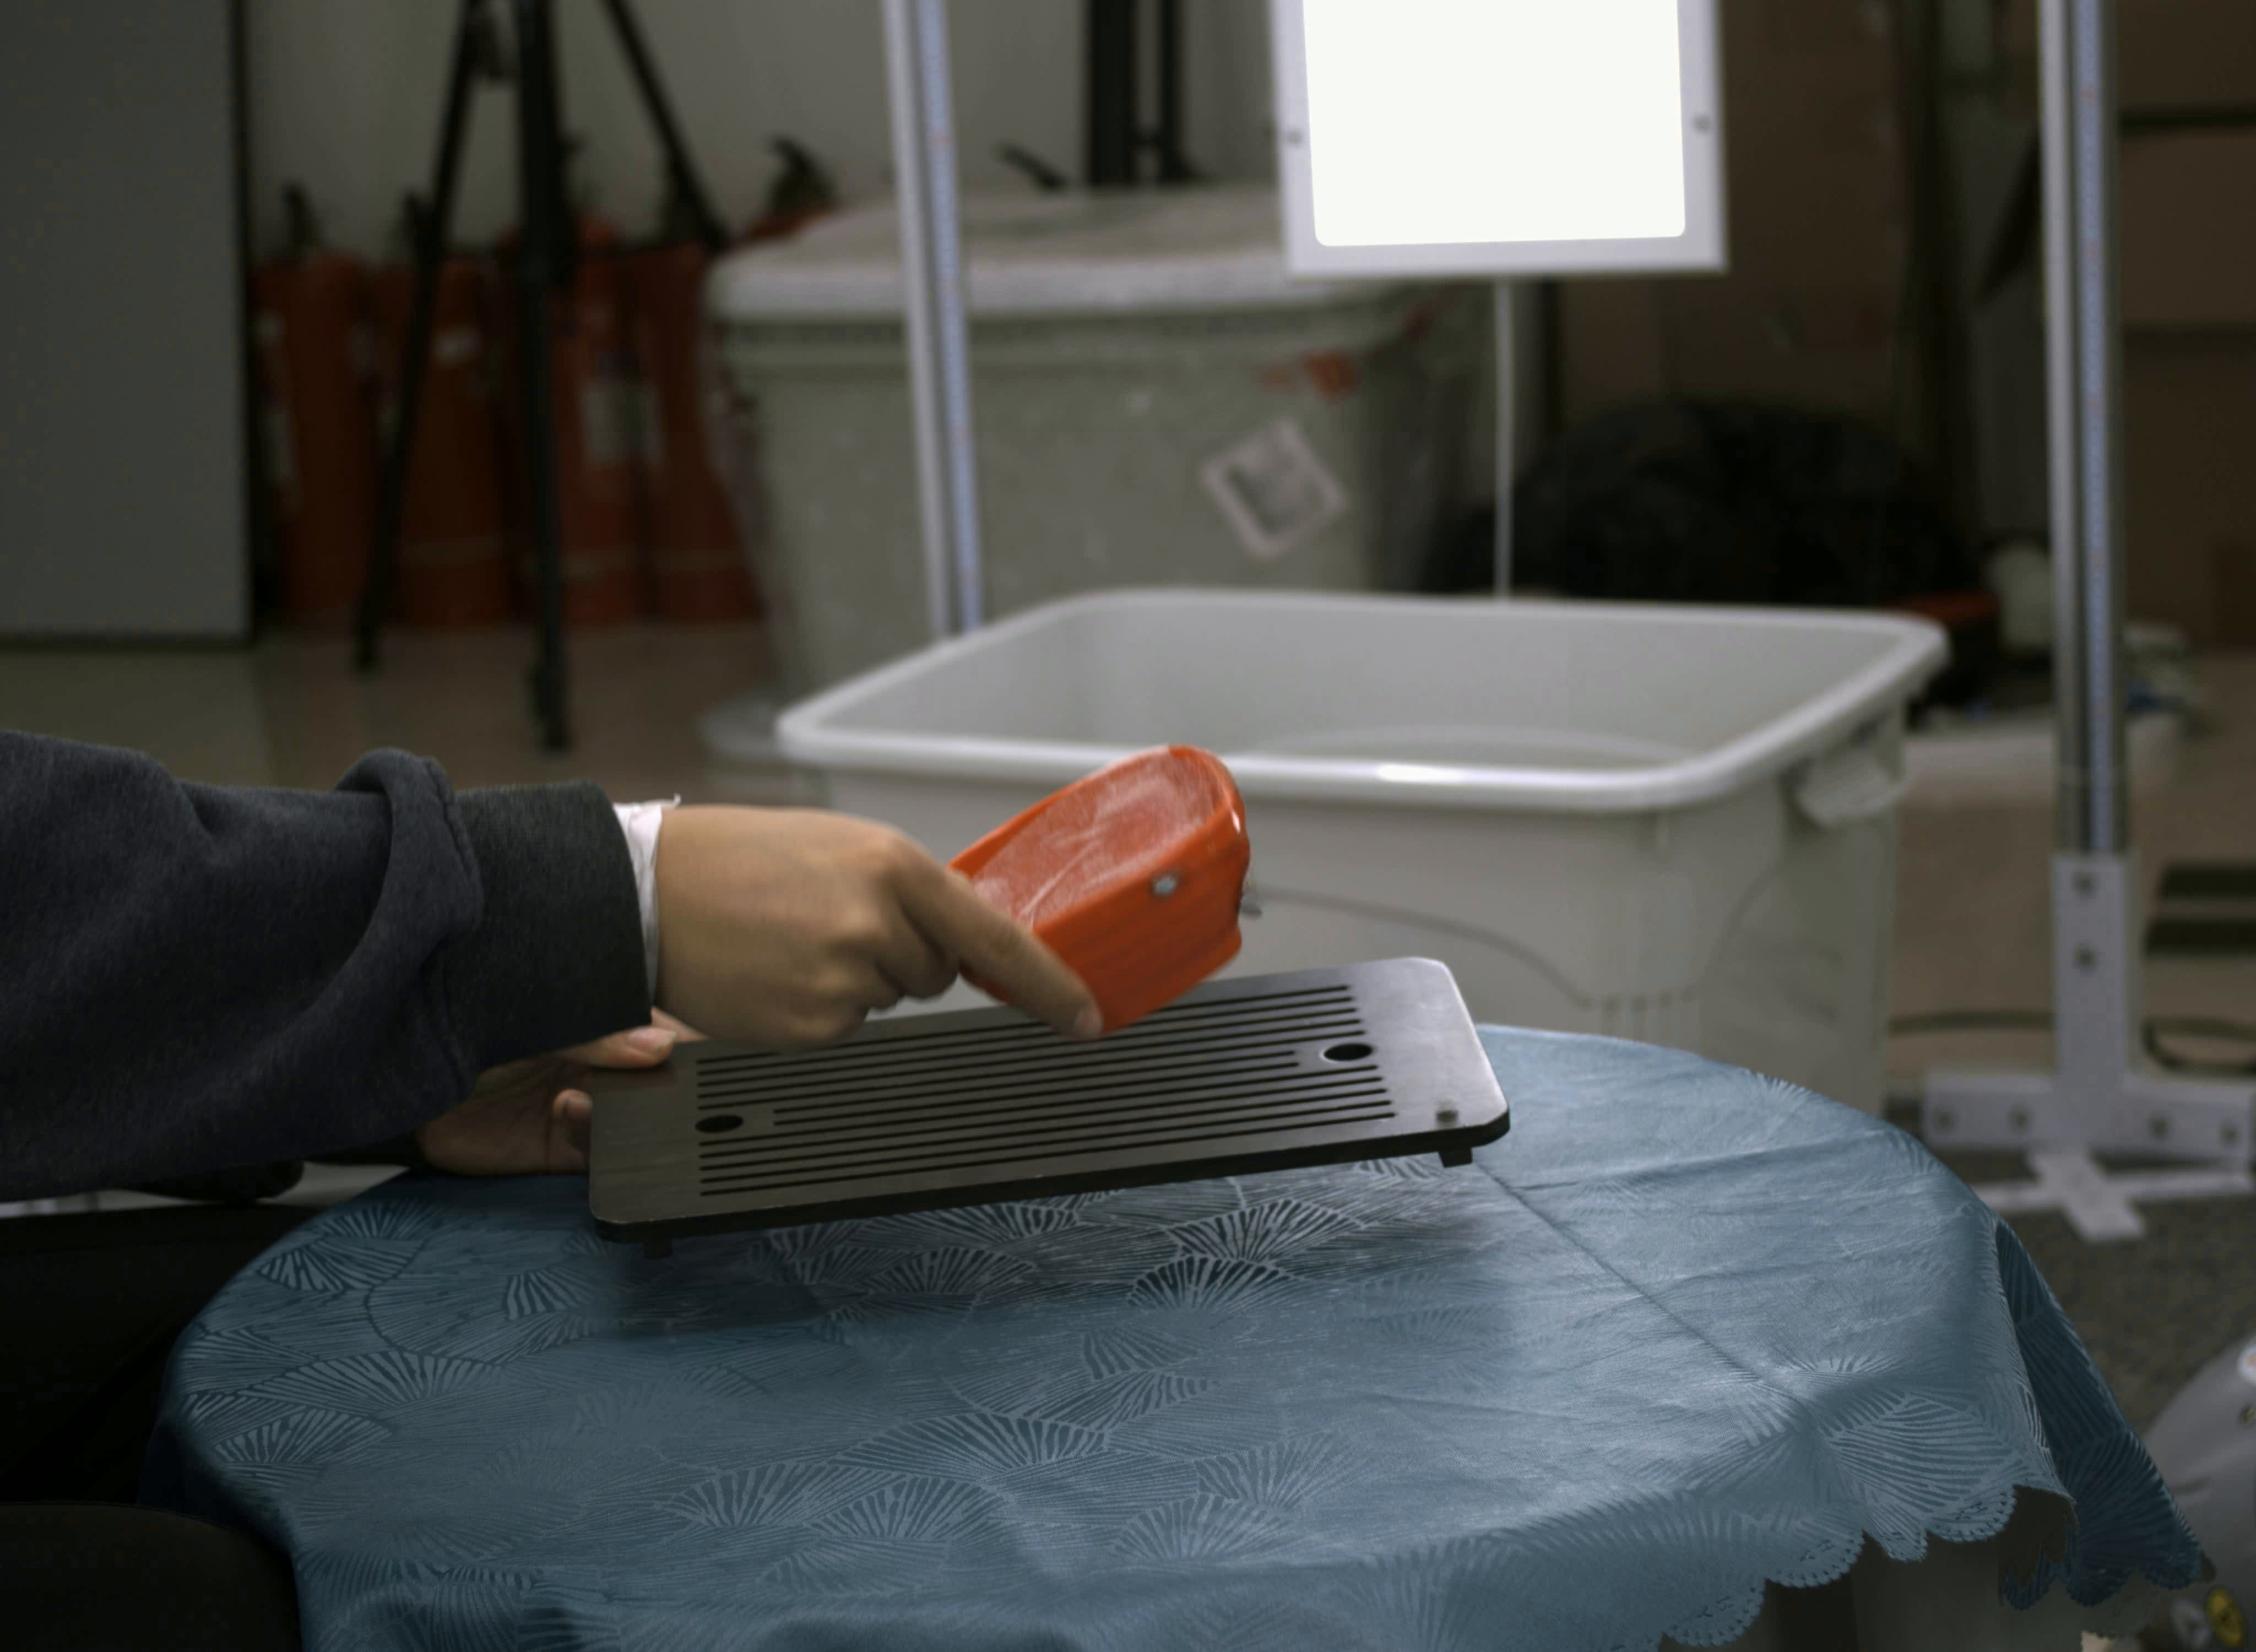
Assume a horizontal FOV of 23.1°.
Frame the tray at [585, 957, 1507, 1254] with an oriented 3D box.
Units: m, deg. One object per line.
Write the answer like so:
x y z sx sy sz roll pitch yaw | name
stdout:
-0.031 0.094 1.871 0.305 0.019 0.170 -7 18 -1 | tray

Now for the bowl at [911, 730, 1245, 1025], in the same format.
-0.007 0.022 1.724 0.119 0.051 0.119 -28 17 8 | bowl
